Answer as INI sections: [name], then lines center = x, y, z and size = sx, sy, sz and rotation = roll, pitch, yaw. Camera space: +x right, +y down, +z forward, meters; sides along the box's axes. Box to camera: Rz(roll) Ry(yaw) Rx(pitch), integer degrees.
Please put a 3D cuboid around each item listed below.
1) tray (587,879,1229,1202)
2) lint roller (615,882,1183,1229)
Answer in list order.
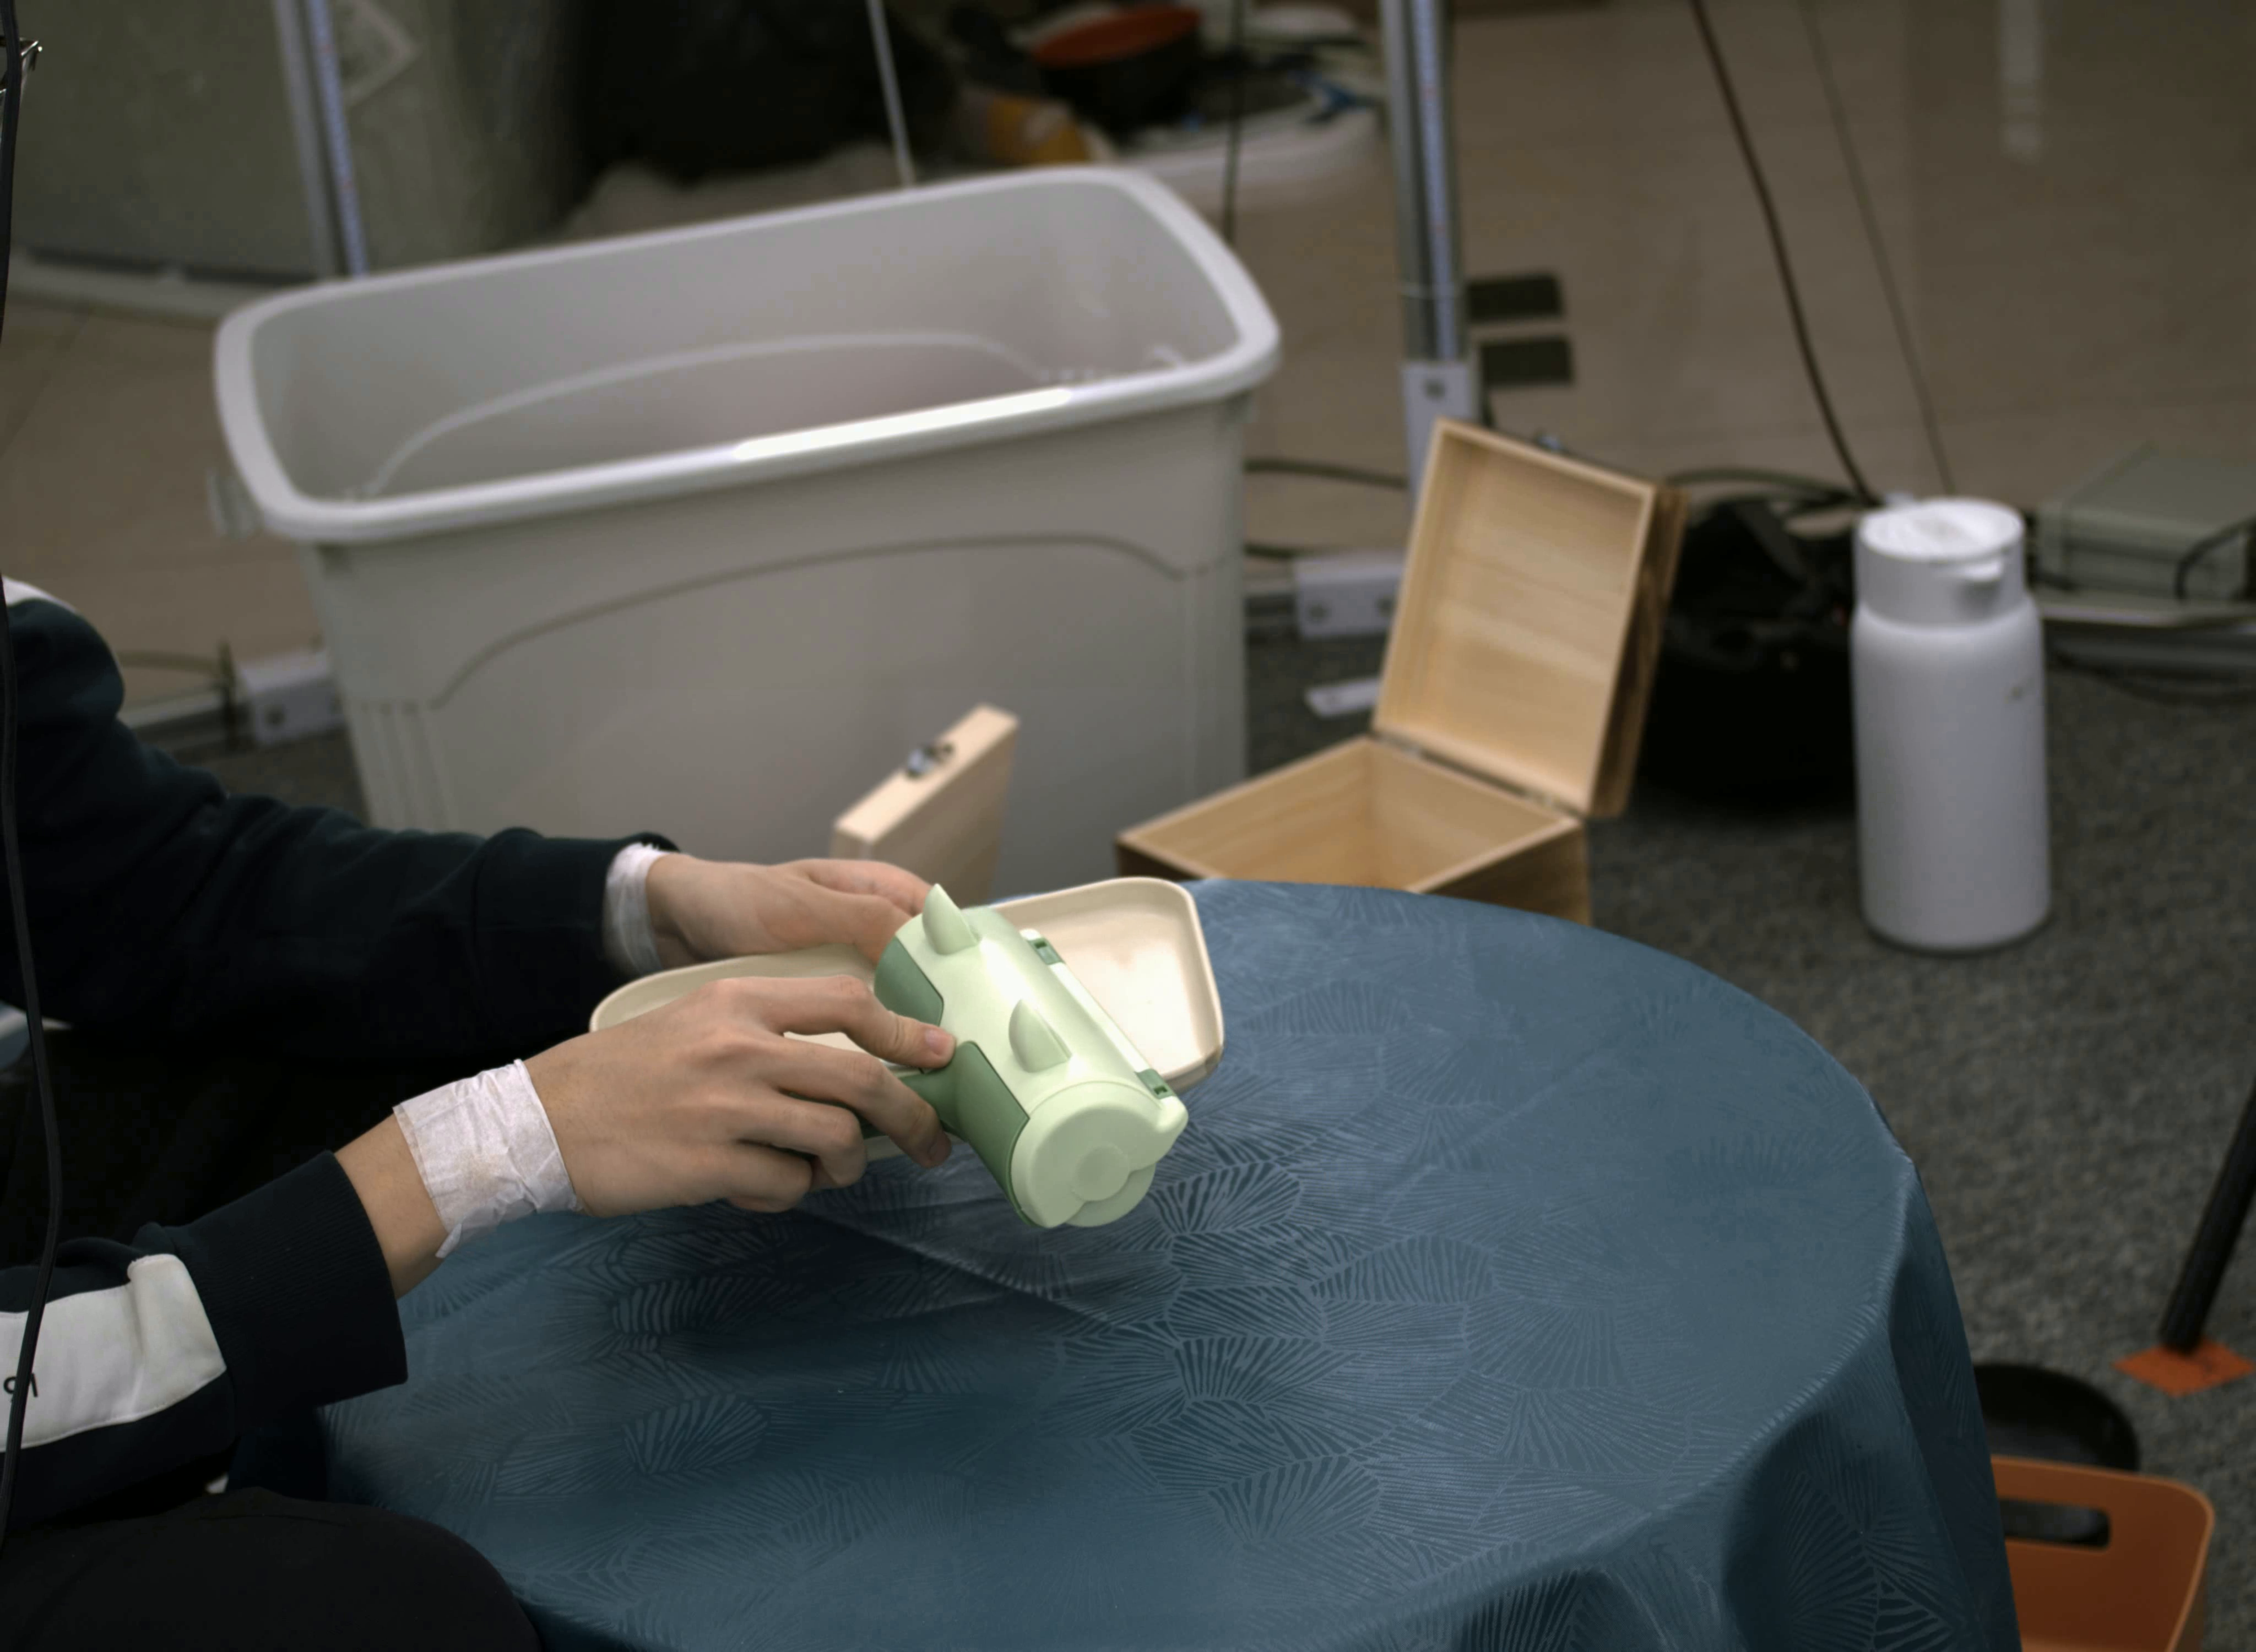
[tray]
center = -0.084, 0.081, 2.133
size = 0.239, 0.018, 0.169
rotation = -12, 25, -1
[lint roller]
center = -0.094, 0.083, 2.014
size = 0.183, 0.083, 0.196
rotation = -7, 22, -15
